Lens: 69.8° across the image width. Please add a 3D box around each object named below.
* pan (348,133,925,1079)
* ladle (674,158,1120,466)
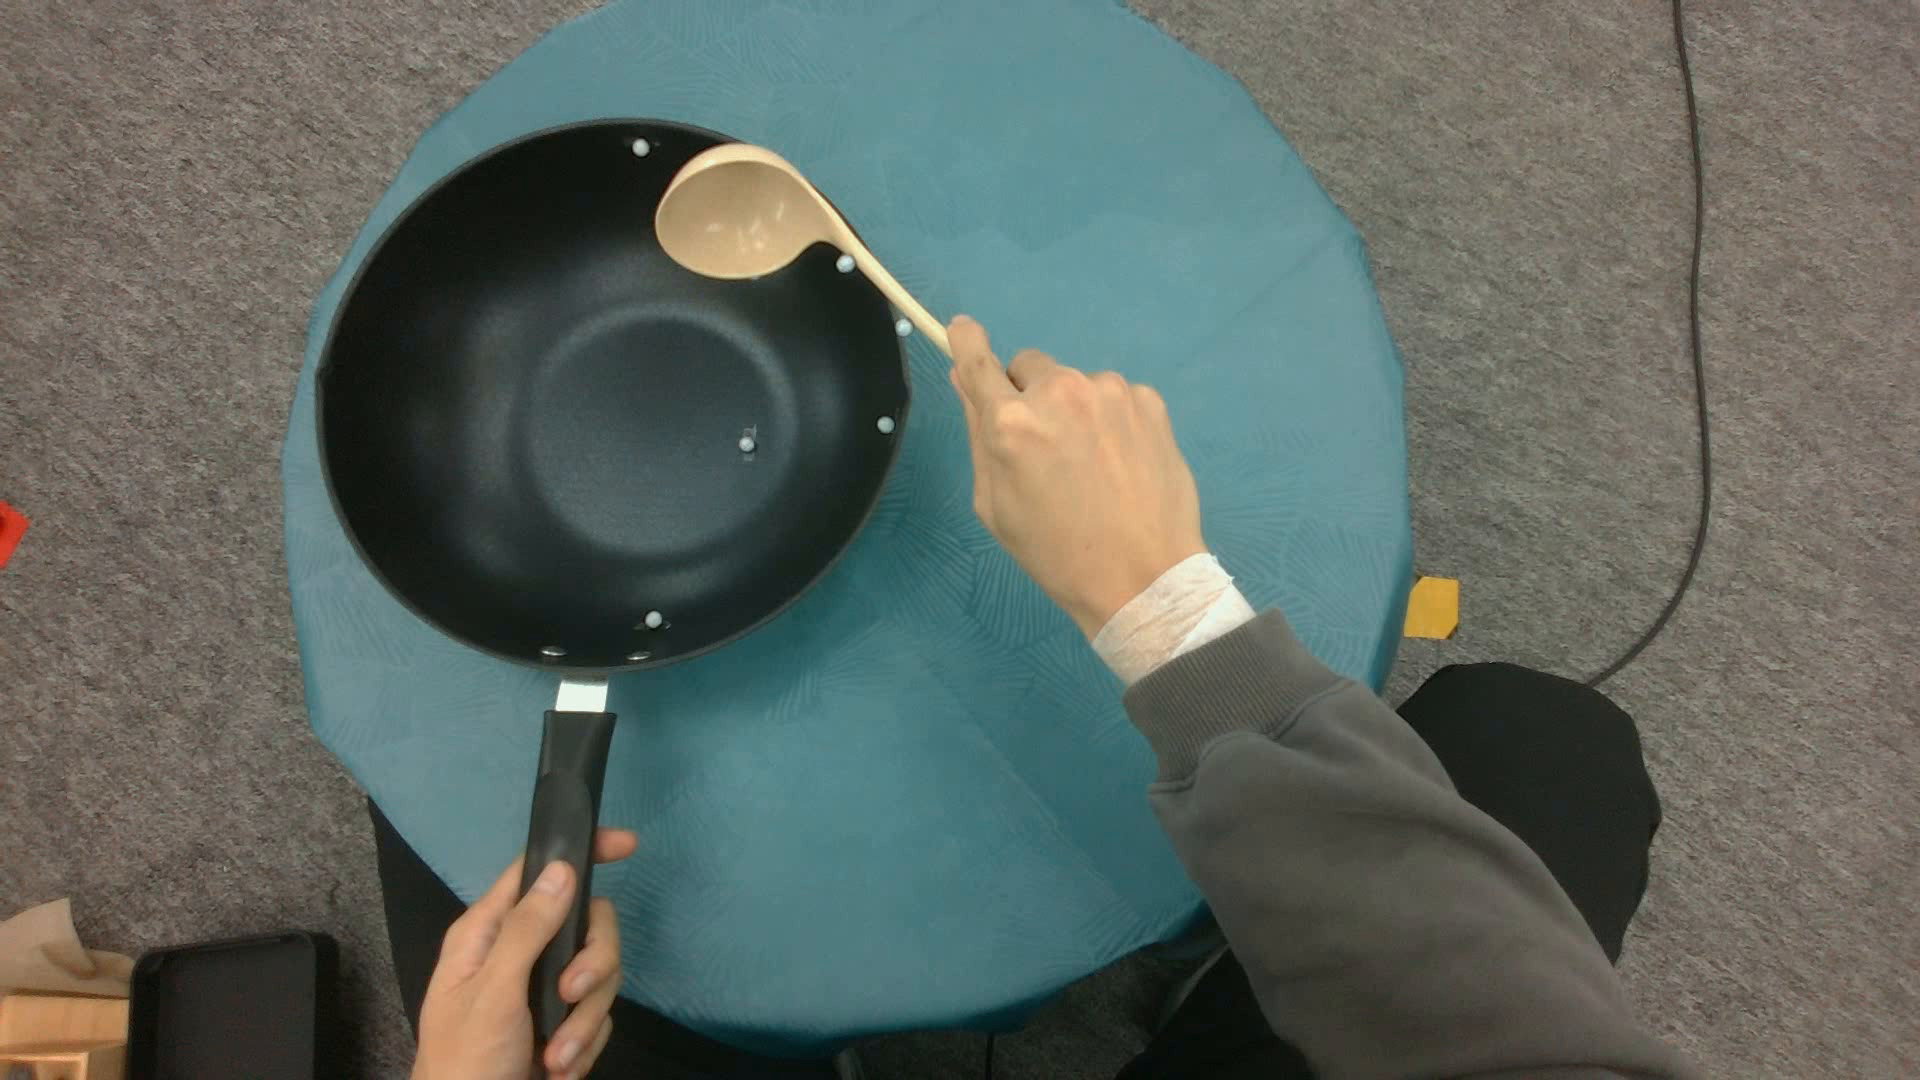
[{"bbox_3d":[-0.165,0.026,0.693,0.288,0.087,0.464,3,78,2],"label":"pan"},{"bbox_3d":[-0.040,-0.093,0.624,0.073,0.072,0.255,-28,54,-27],"label":"ladle"}]
